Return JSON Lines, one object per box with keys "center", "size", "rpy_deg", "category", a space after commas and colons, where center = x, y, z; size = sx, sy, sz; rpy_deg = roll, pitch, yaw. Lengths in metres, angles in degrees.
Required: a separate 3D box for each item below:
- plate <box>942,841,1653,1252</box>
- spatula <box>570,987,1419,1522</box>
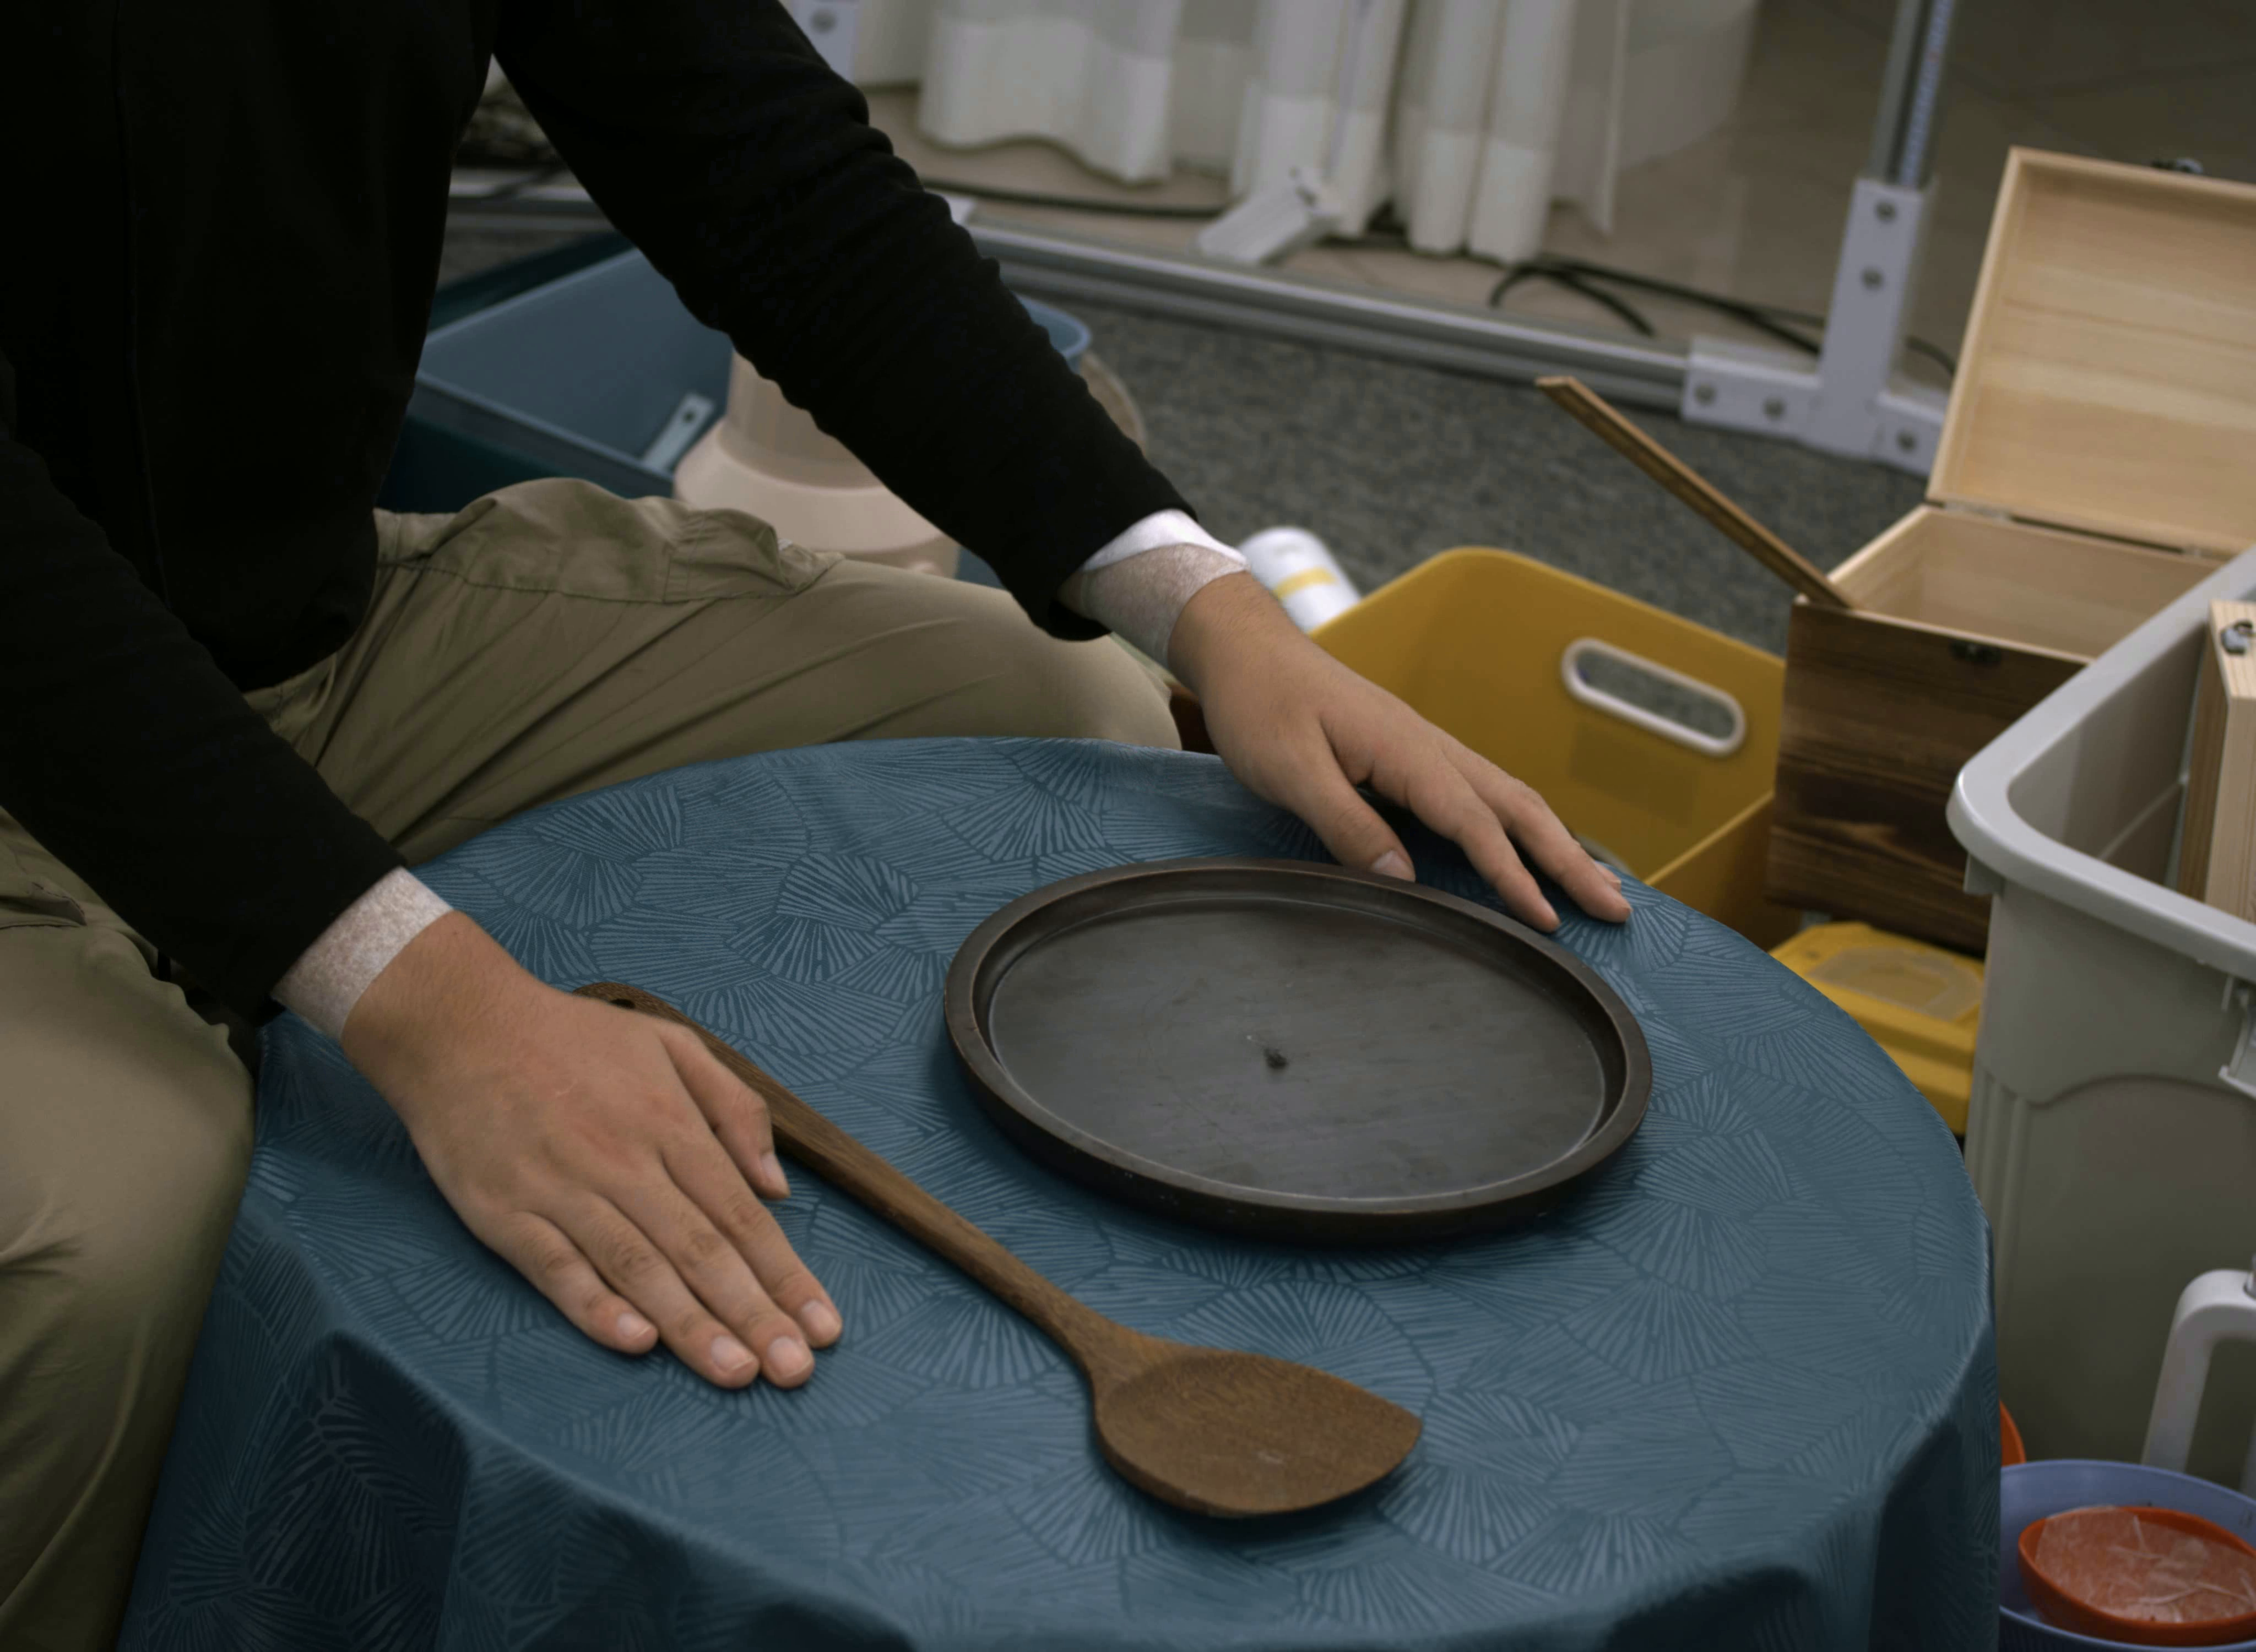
{"center": [0.059, 0.079, 1.877], "size": [0.254, 0.029, 0.256], "rpy_deg": [4, 28, -2], "category": "plate"}
{"center": [-0.063, 0.133, 1.754], "size": [0.095, 0.016, 0.389], "rpy_deg": [-17, 35, -40], "category": "spatula"}
